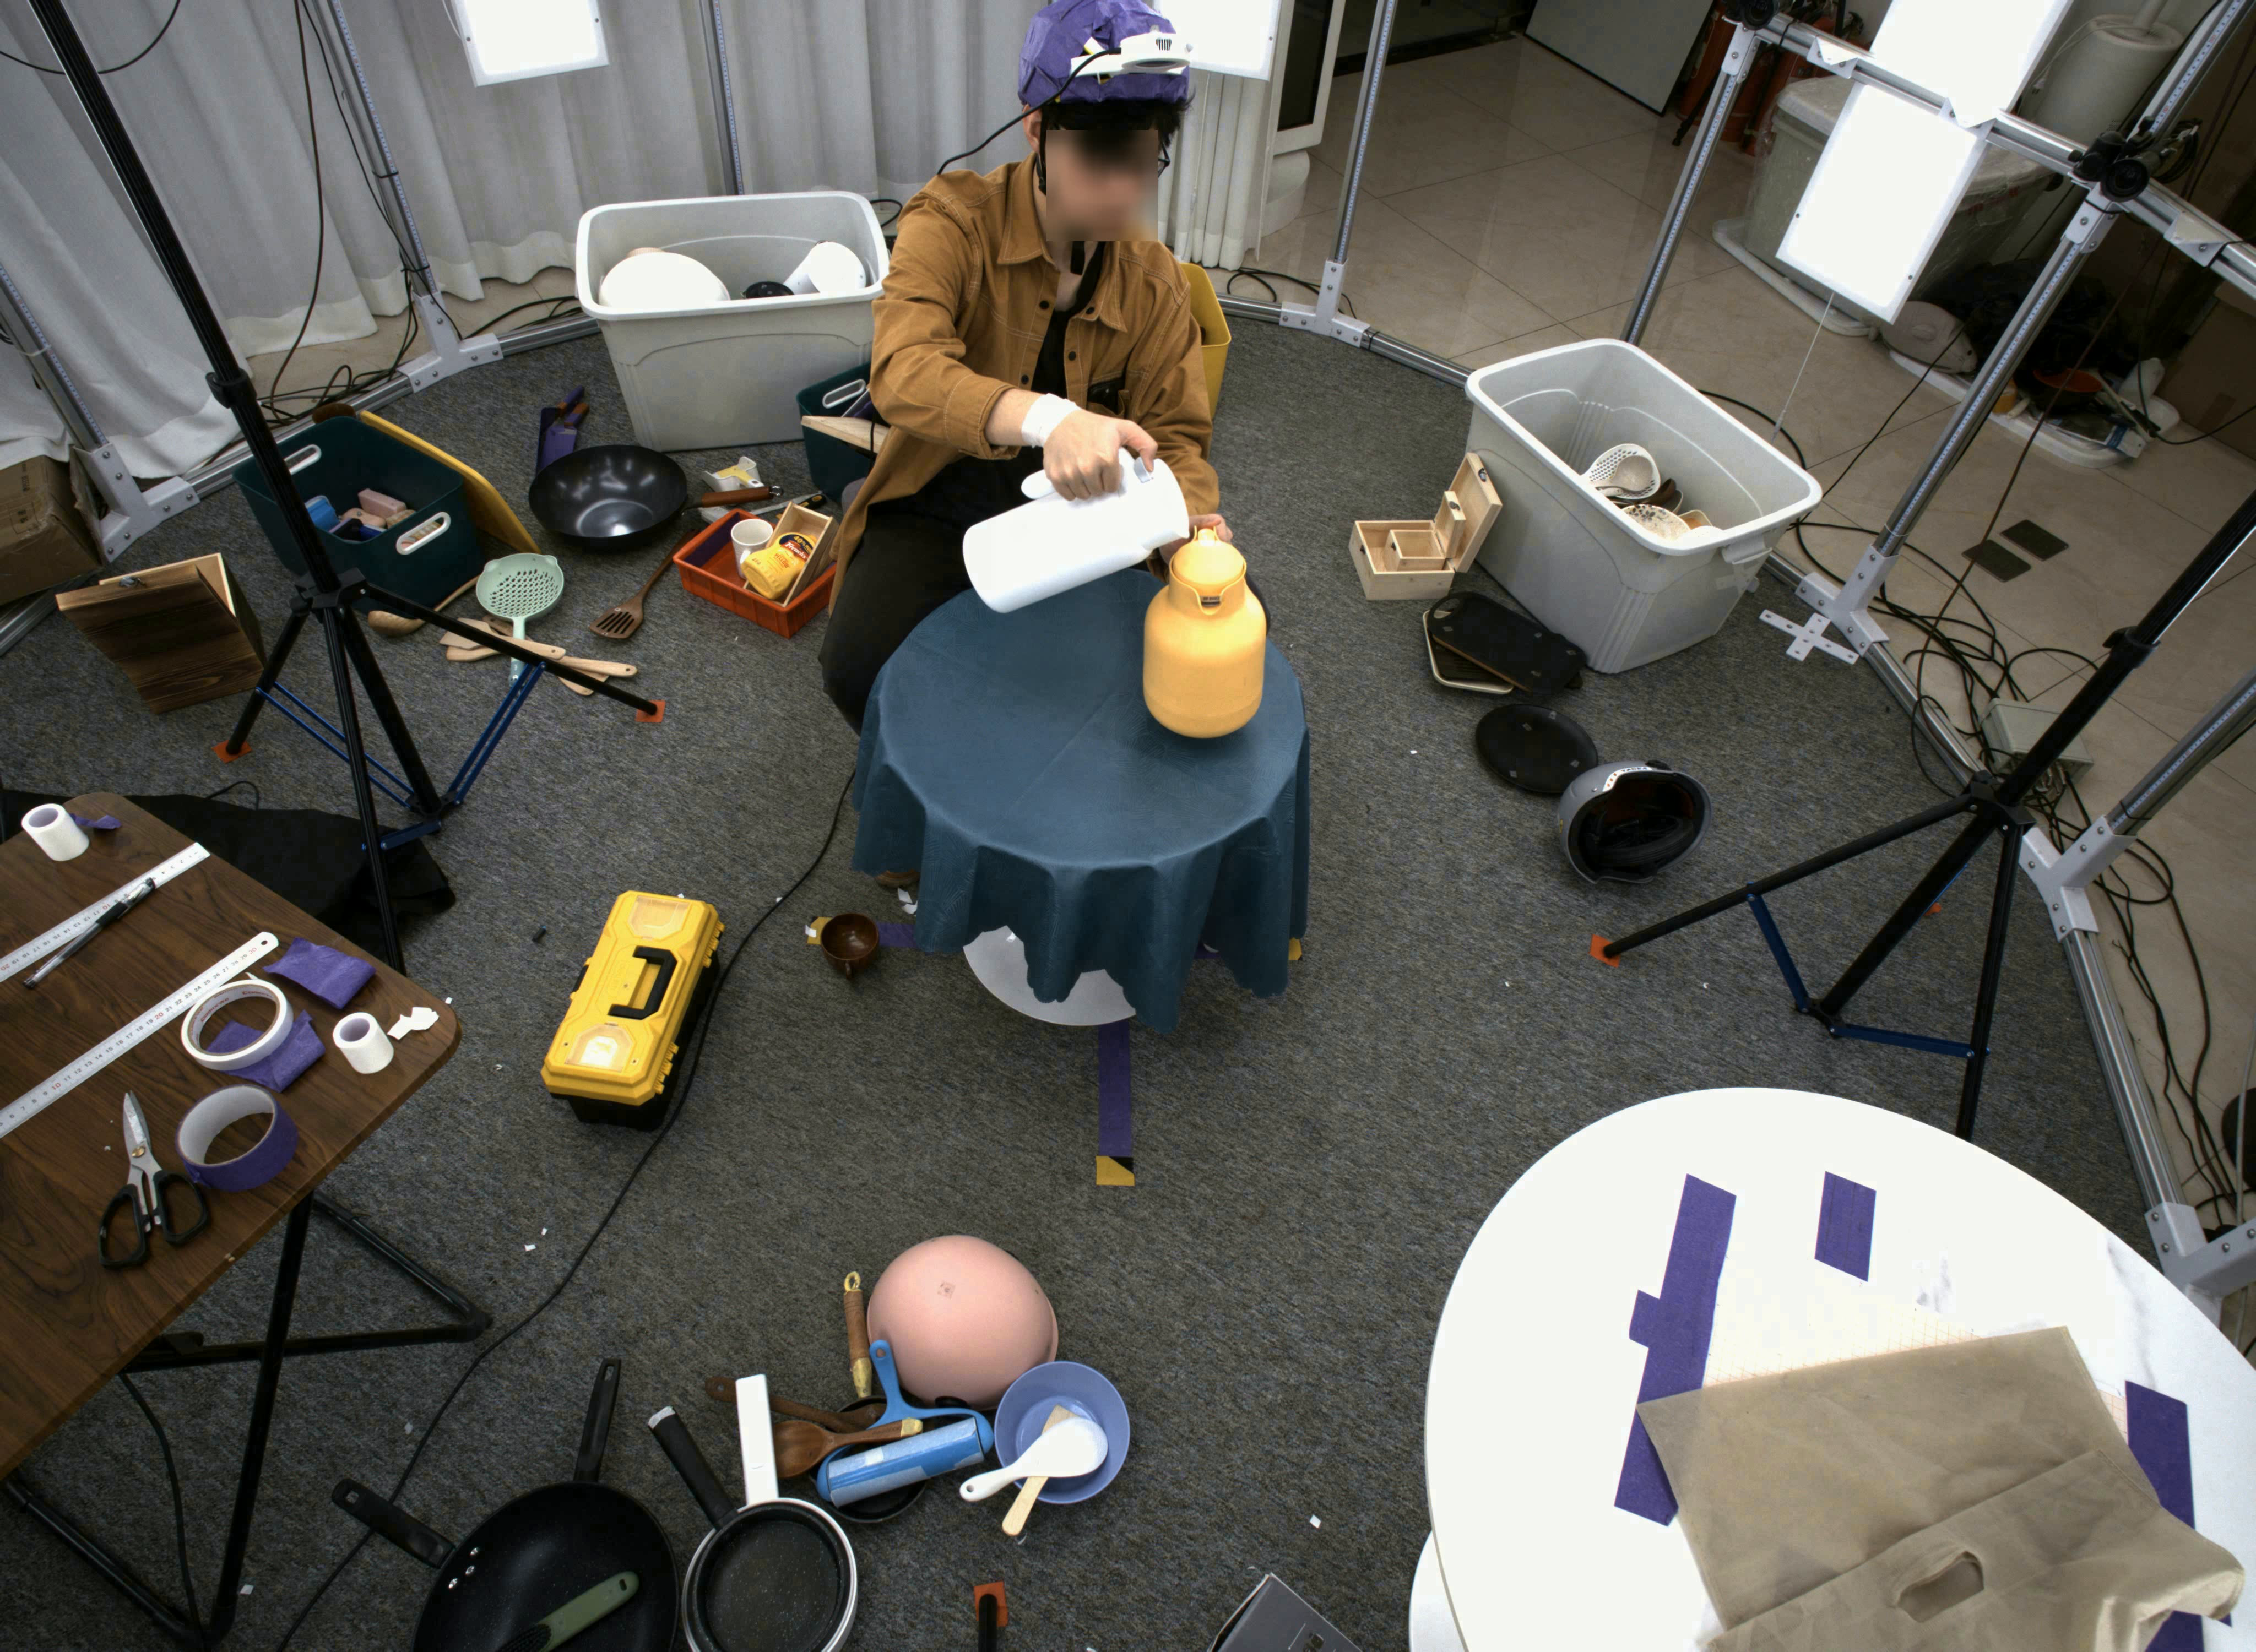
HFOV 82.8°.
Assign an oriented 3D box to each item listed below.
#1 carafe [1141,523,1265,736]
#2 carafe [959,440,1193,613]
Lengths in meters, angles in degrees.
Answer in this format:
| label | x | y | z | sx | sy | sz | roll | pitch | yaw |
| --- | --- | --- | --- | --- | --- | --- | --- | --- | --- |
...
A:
| label | x | y | z | sx | sy | sz | roll | pitch | yaw |
| --- | --- | --- | --- | --- | --- | --- | --- | --- | --- |
| carafe | 0.101 | -0.267 | 1.697 | 0.163 | 0.254 | 0.207 | 3 | 50 | 2 |
| carafe | -0.075 | -0.363 | 1.562 | 0.268 | 0.169 | 0.126 | -15 | 56 | 25 |
